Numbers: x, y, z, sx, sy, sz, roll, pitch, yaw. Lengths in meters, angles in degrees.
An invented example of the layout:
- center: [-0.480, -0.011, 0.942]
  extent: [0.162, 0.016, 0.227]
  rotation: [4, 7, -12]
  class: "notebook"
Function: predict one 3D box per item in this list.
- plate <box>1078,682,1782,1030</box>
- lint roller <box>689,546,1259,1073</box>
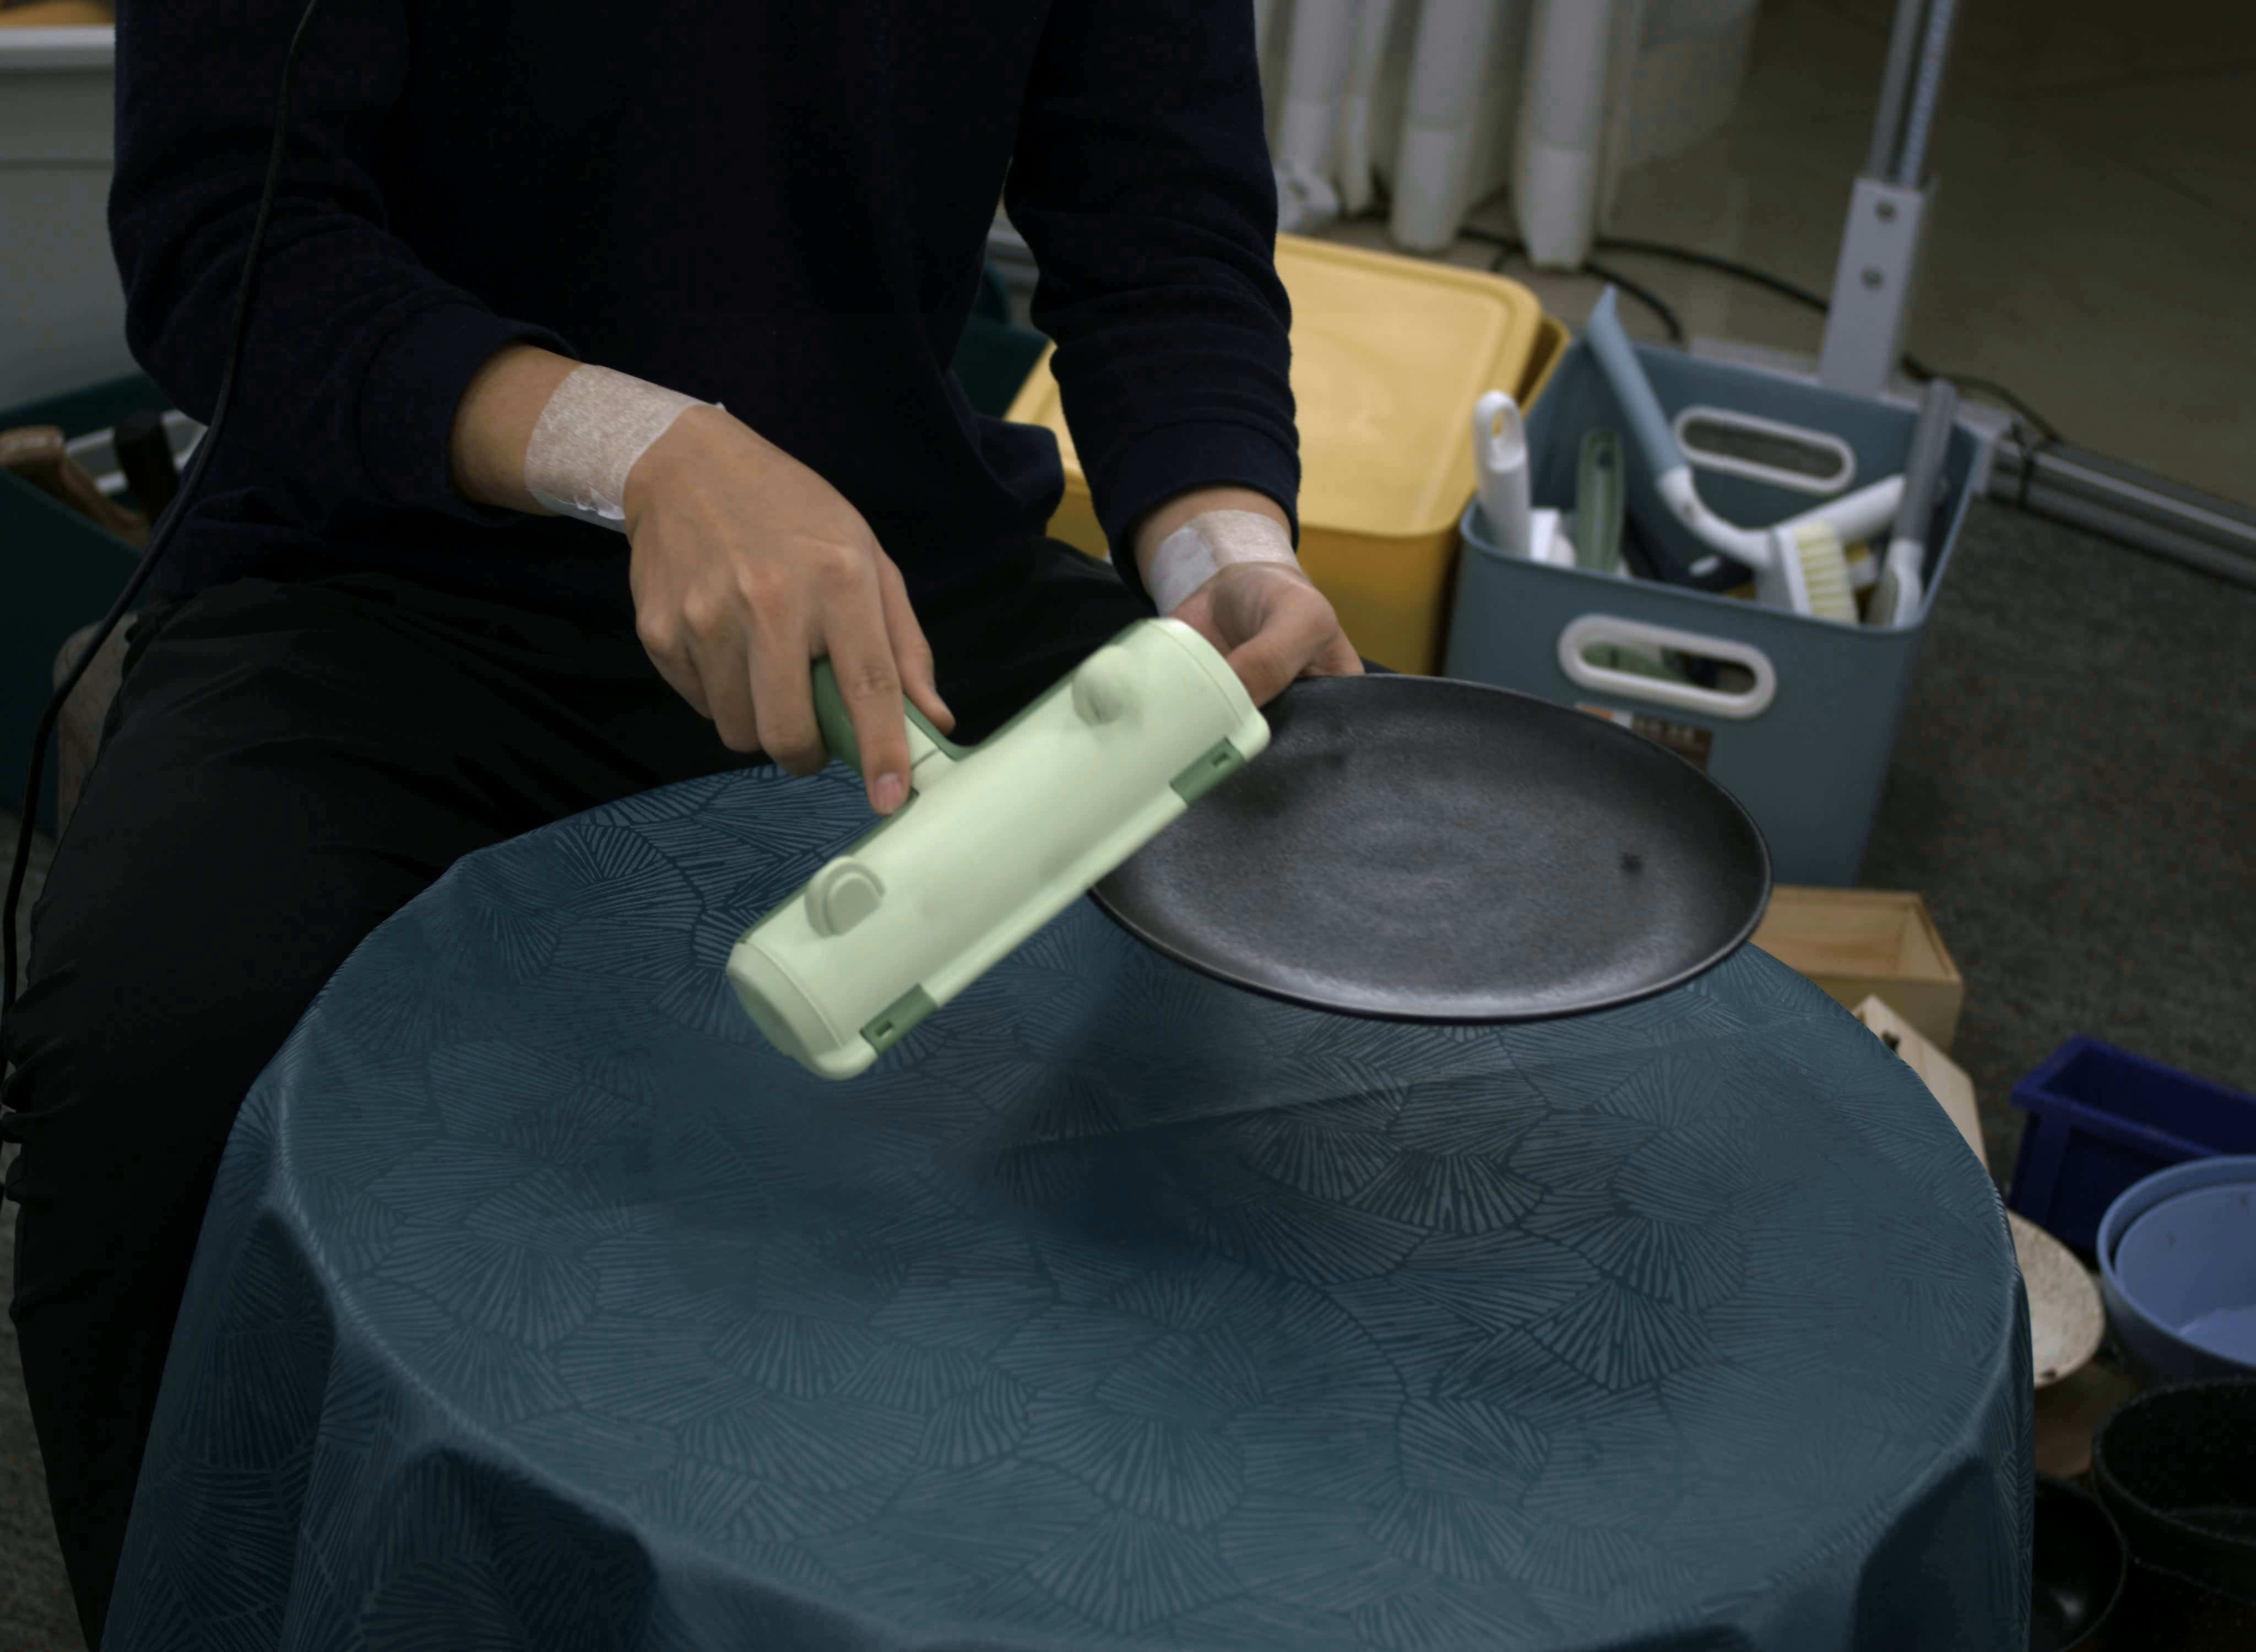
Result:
- center: [0.100, 0.014, 1.814]
  extent: [0.243, 0.023, 0.246]
  rotation: [3, 28, -2]
  class: "plate"
- center: [-0.084, -0.040, 1.782]
  extent: [0.198, 0.082, 0.184]
  rotation: [-40, 75, -17]
  class: "lint roller"
